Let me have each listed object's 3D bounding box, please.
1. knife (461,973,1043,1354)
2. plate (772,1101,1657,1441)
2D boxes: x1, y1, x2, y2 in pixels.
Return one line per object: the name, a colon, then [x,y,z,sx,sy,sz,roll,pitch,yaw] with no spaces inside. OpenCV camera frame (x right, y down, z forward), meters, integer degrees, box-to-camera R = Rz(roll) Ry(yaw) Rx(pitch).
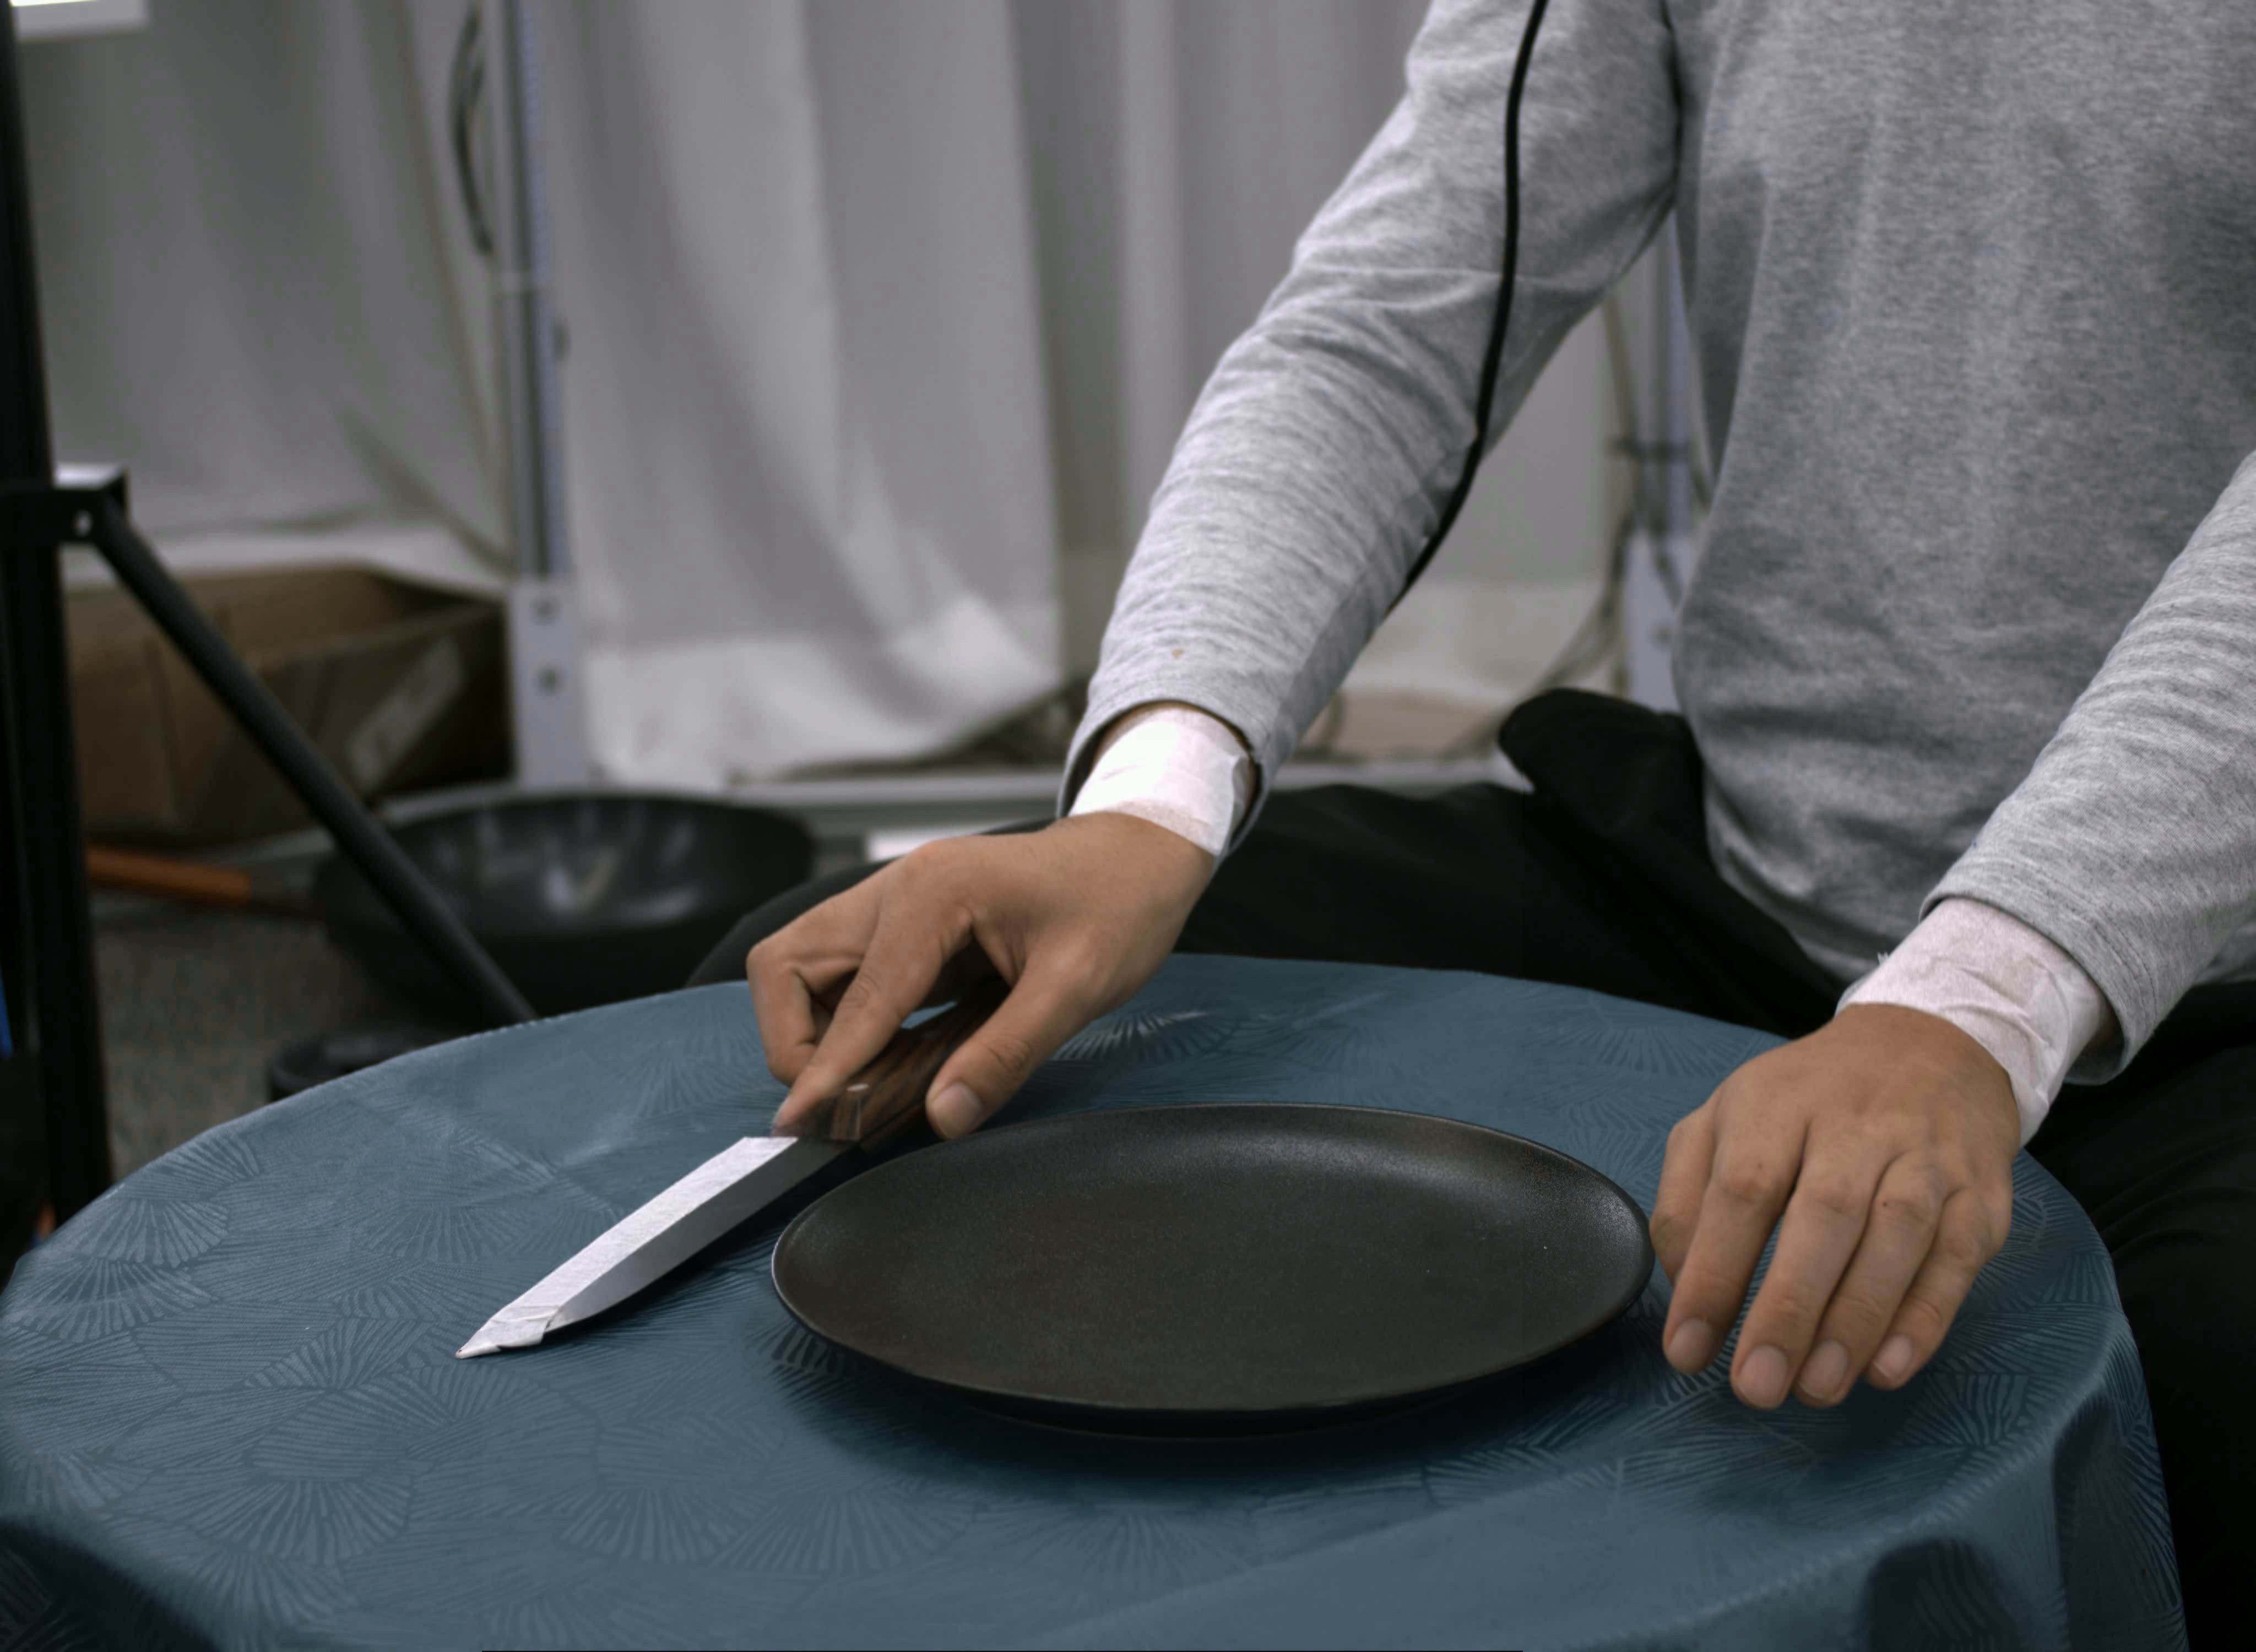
knife: [-0.105,0.099,1.567,0.051,0.020,0.284,-5,16,34]
plate: [0.024,0.125,1.457,0.243,0.023,0.245,-3,16,-1]
